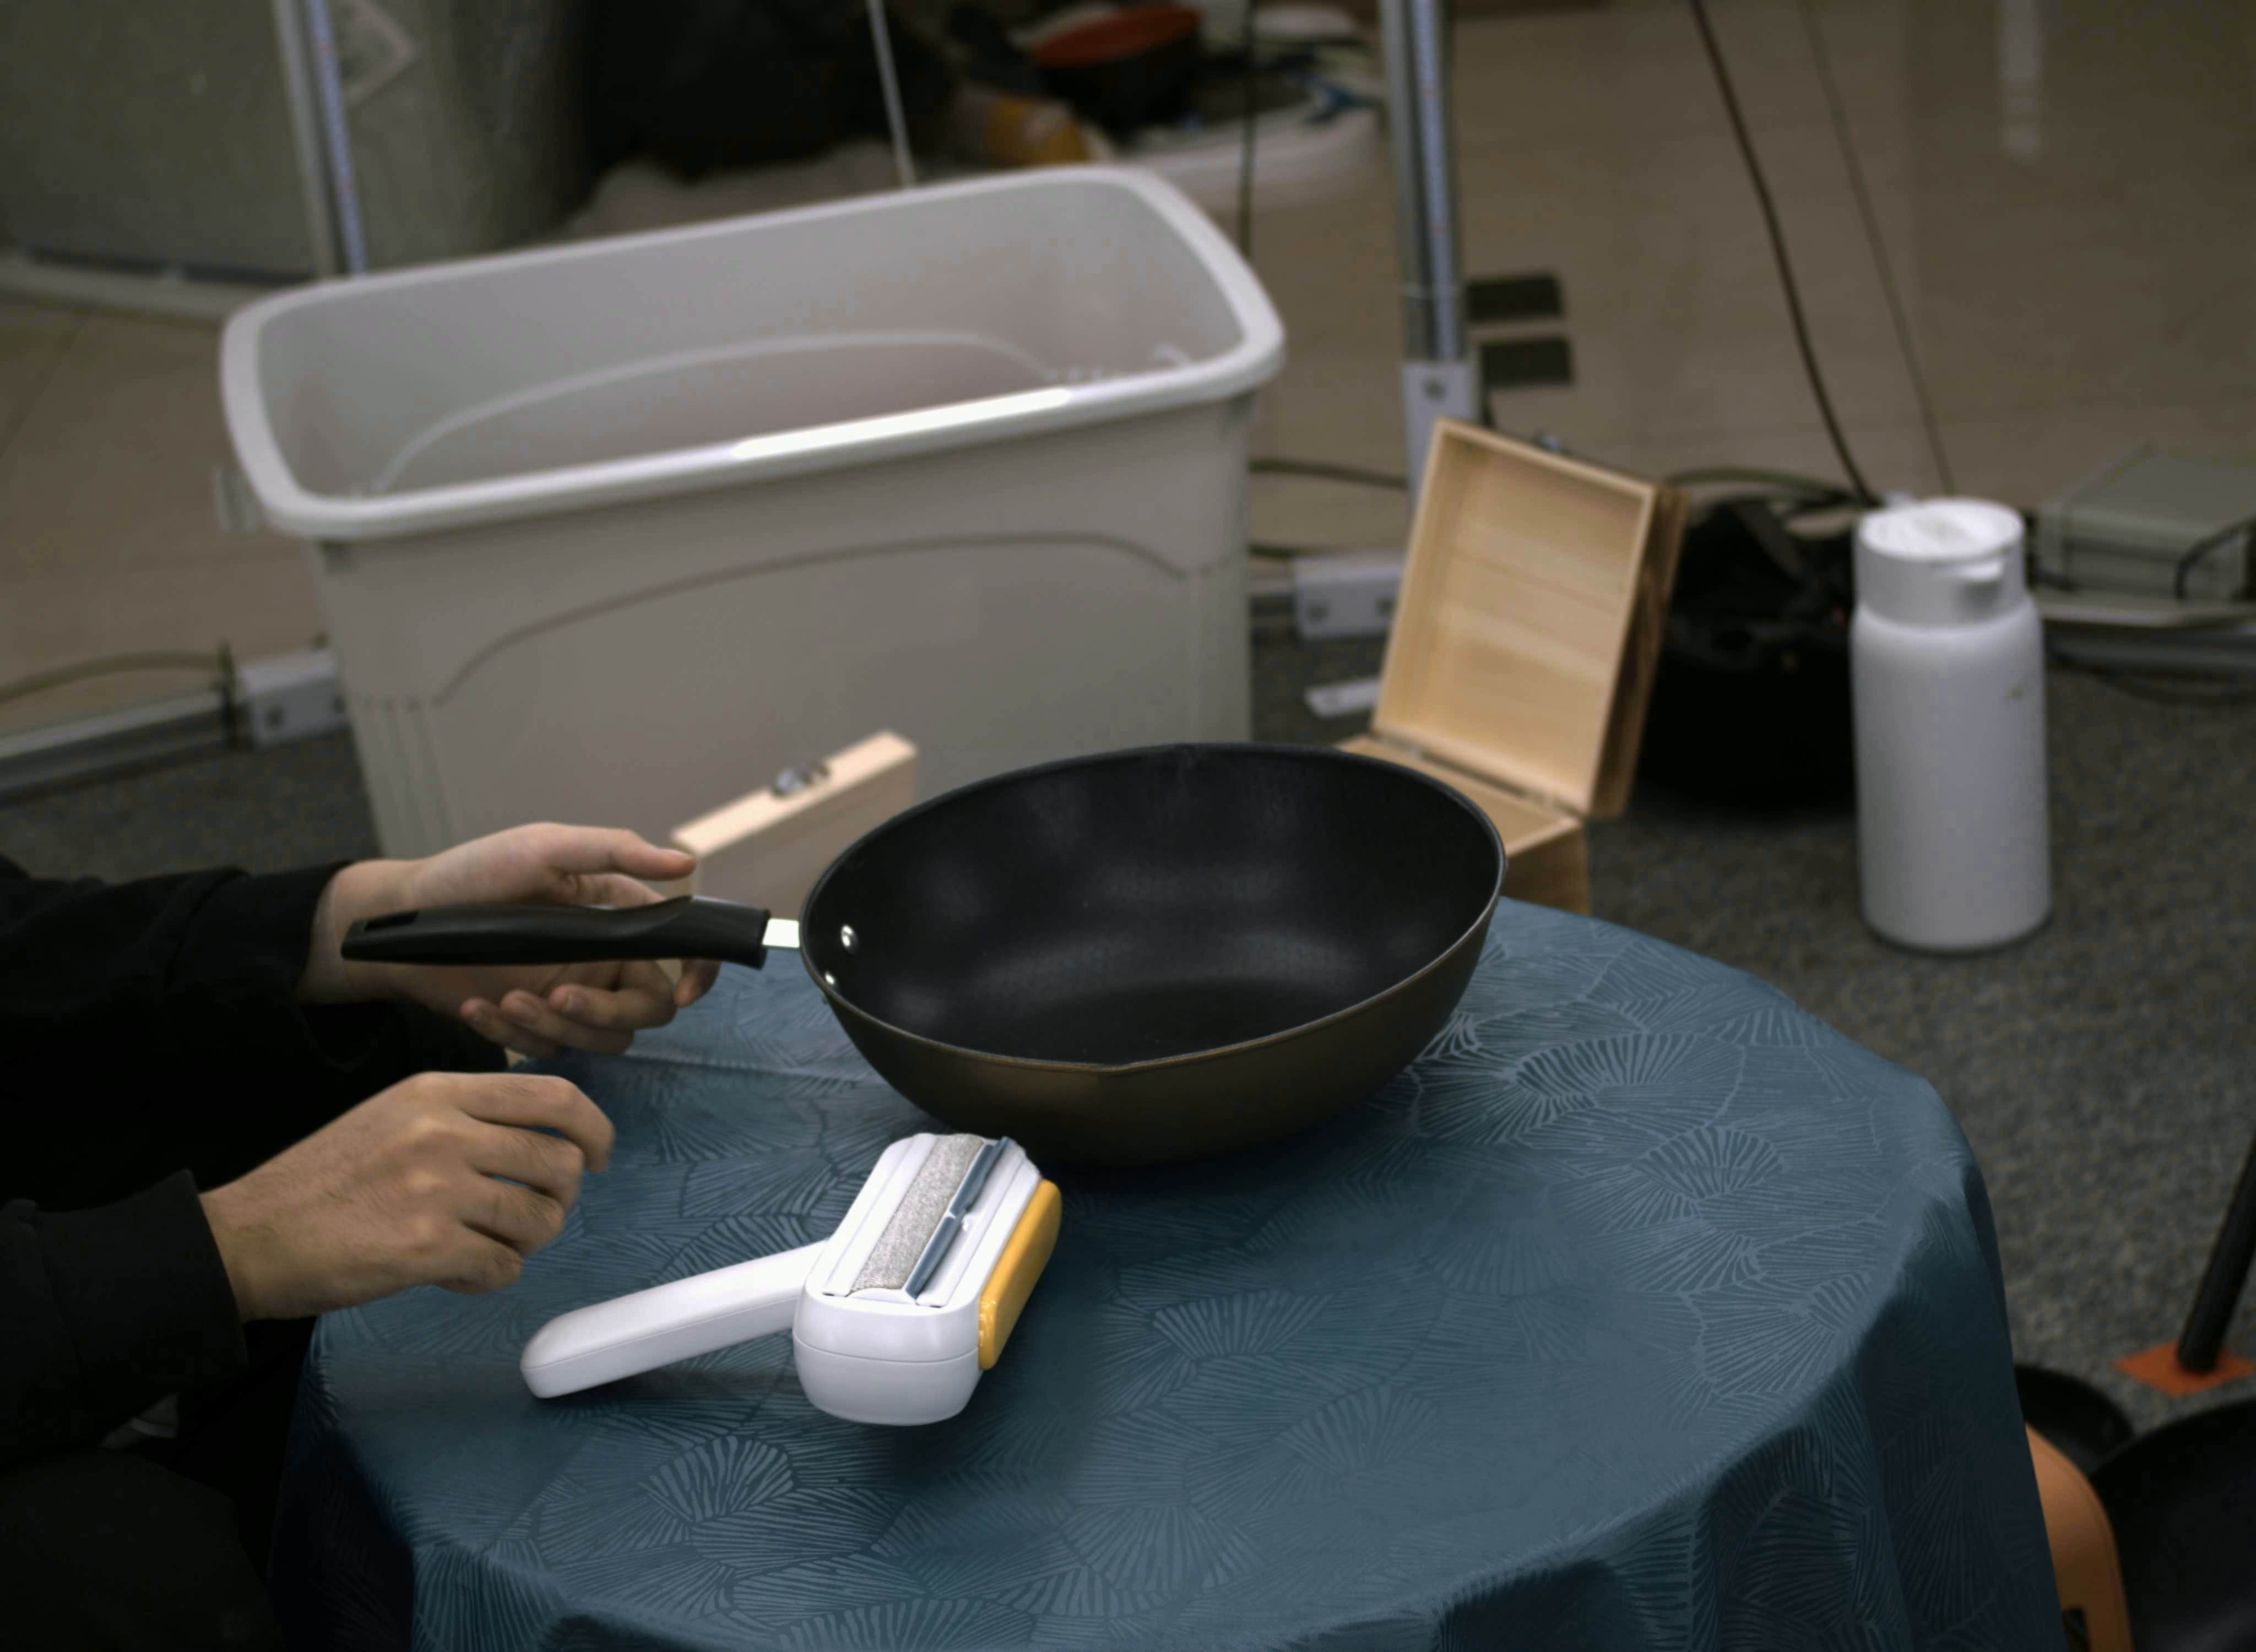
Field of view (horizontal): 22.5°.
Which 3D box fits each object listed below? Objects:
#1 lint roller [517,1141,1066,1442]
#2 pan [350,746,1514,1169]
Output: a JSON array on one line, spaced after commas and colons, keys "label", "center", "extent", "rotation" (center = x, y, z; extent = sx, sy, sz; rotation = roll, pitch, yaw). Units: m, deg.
[{"label": "lint roller", "center": [-0.129, 0.170, 2.028], "extent": [0.192, 0.075, 0.190], "rotation": [-2, 20, 14]}, {"label": "pan", "center": [-0.076, 0.064, 2.223], "extent": [0.462, 0.088, 0.284], "rotation": [-3, 25, 8]}]
